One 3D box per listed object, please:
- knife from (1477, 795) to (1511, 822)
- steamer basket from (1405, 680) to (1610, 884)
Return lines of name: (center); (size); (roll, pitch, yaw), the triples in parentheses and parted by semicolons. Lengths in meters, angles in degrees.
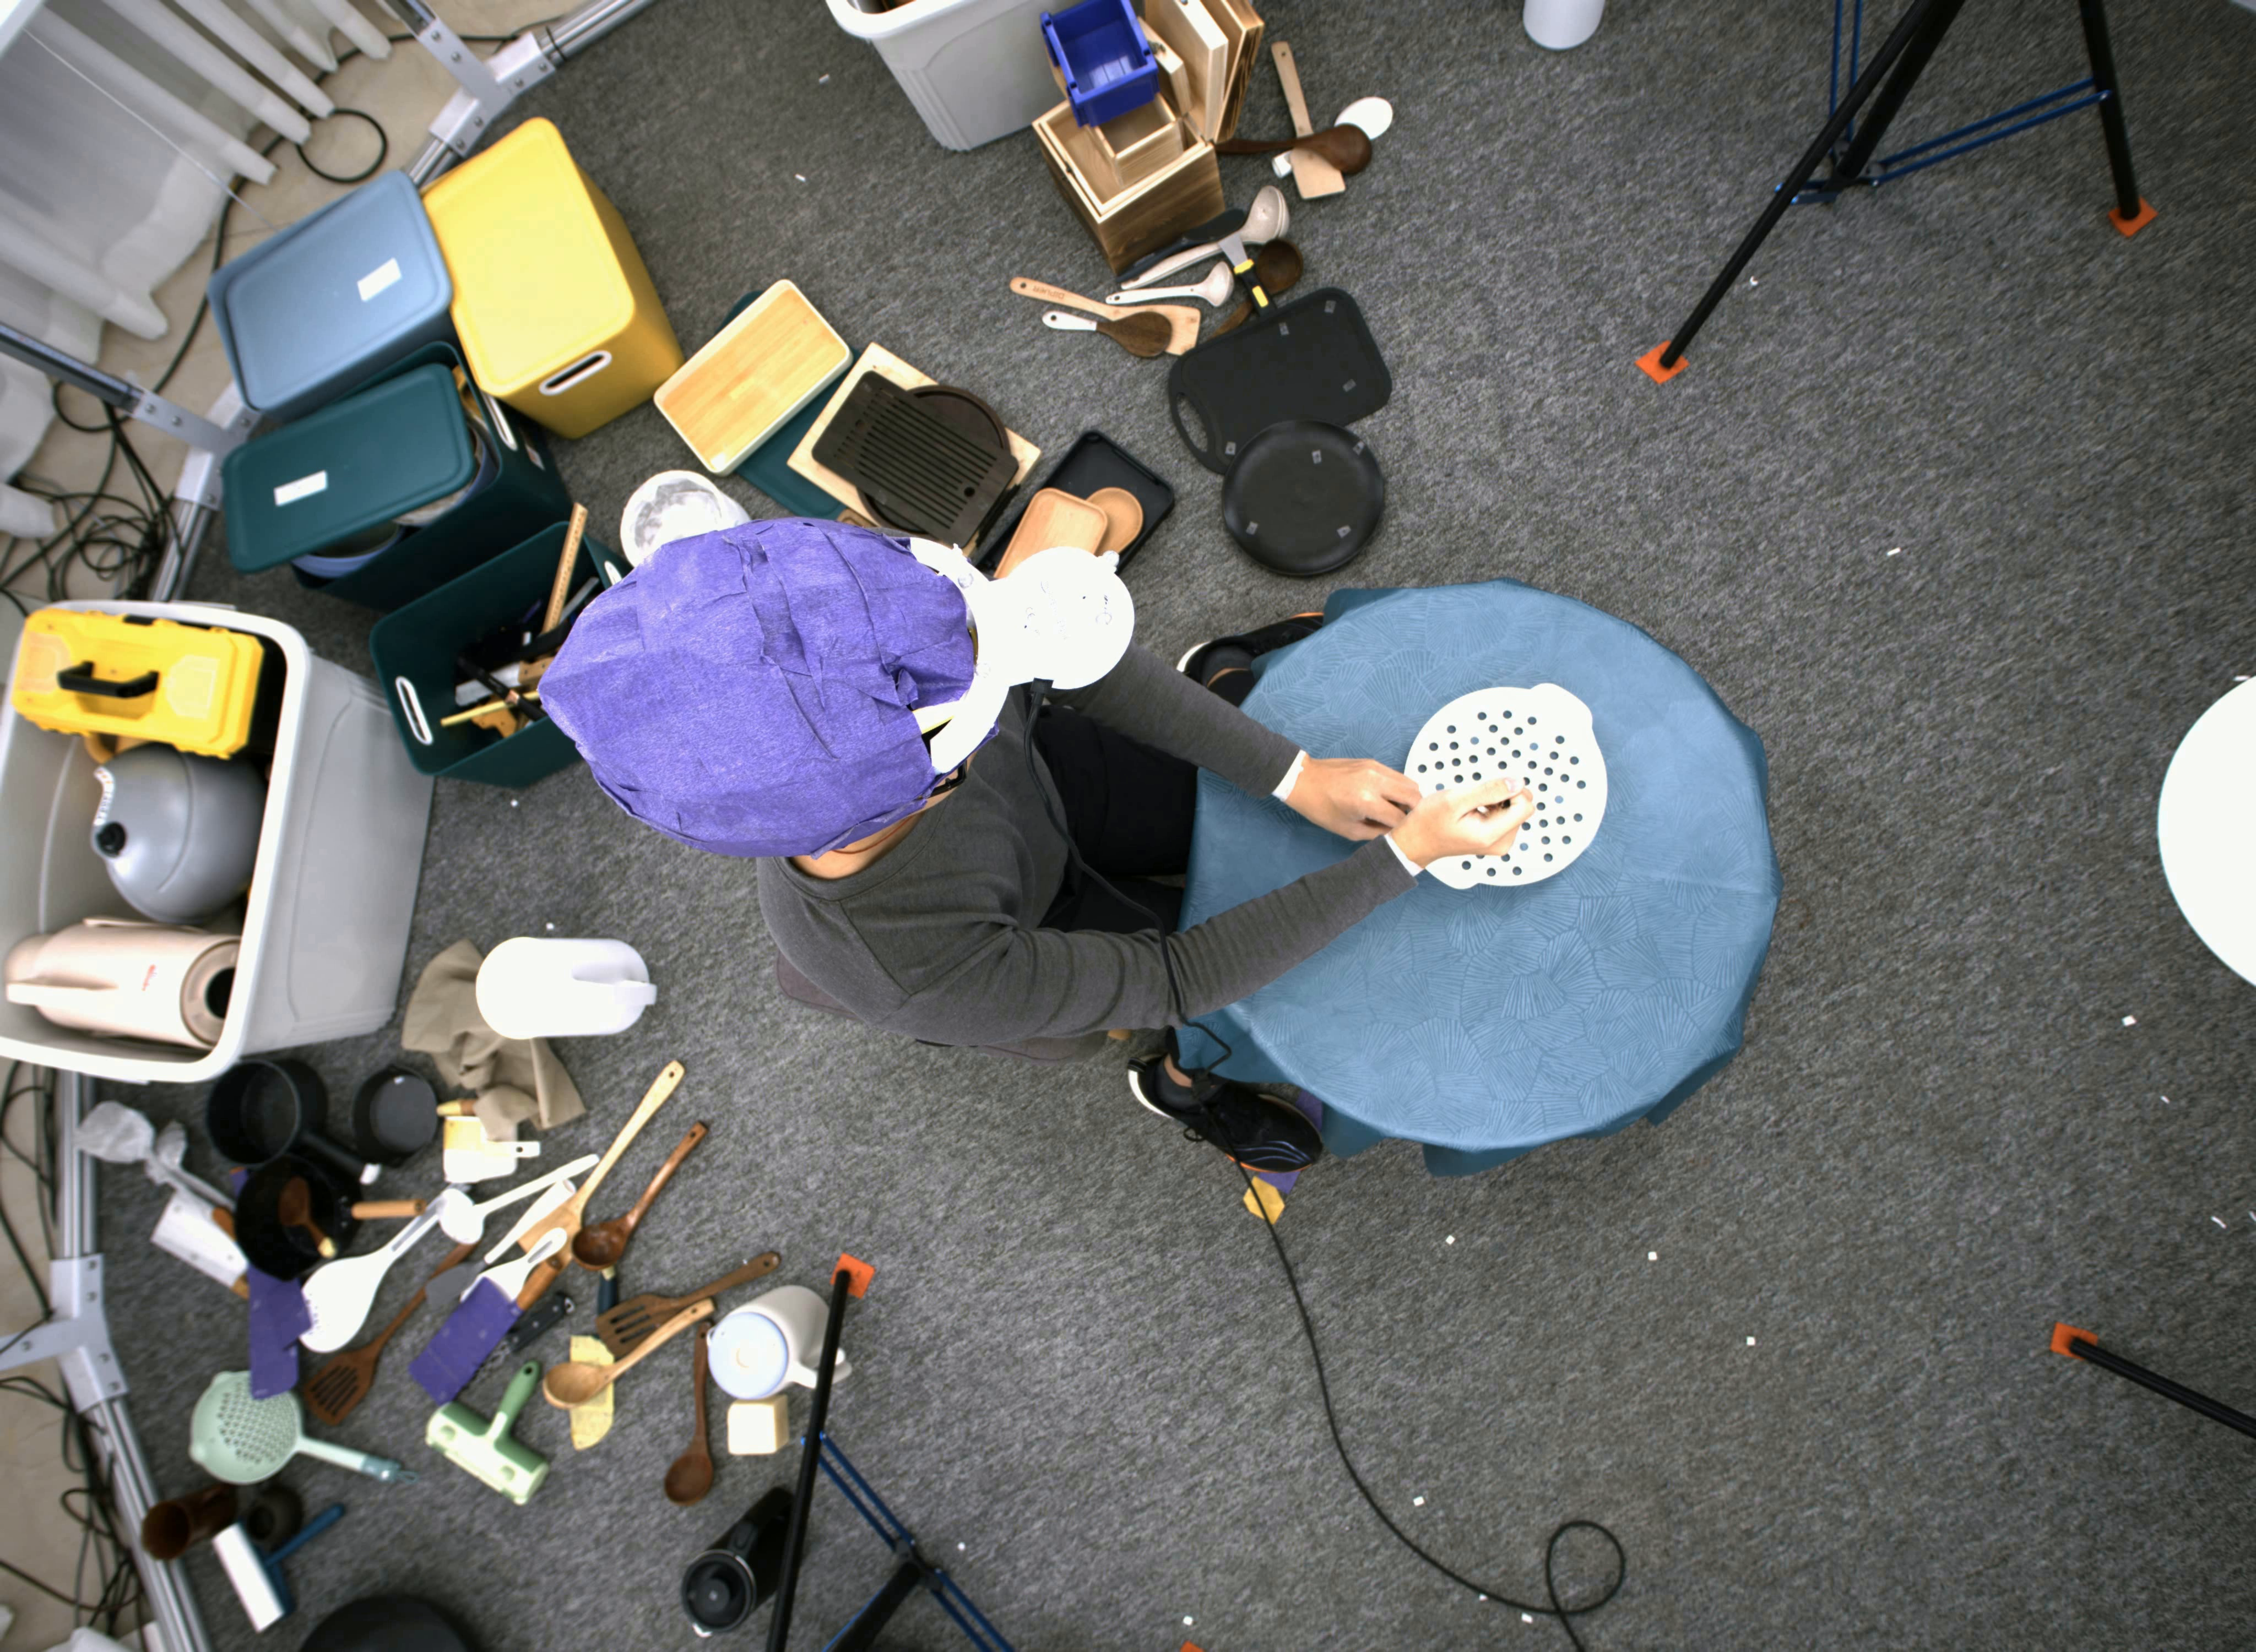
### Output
knife: (0.338, -0.016, 1.285); (0.024, 0.237, 0.016); (-42, 82, 7)
steamer basket: (0.387, -0.044, 1.410); (0.201, 0.069, 0.231); (38, 95, 11)
